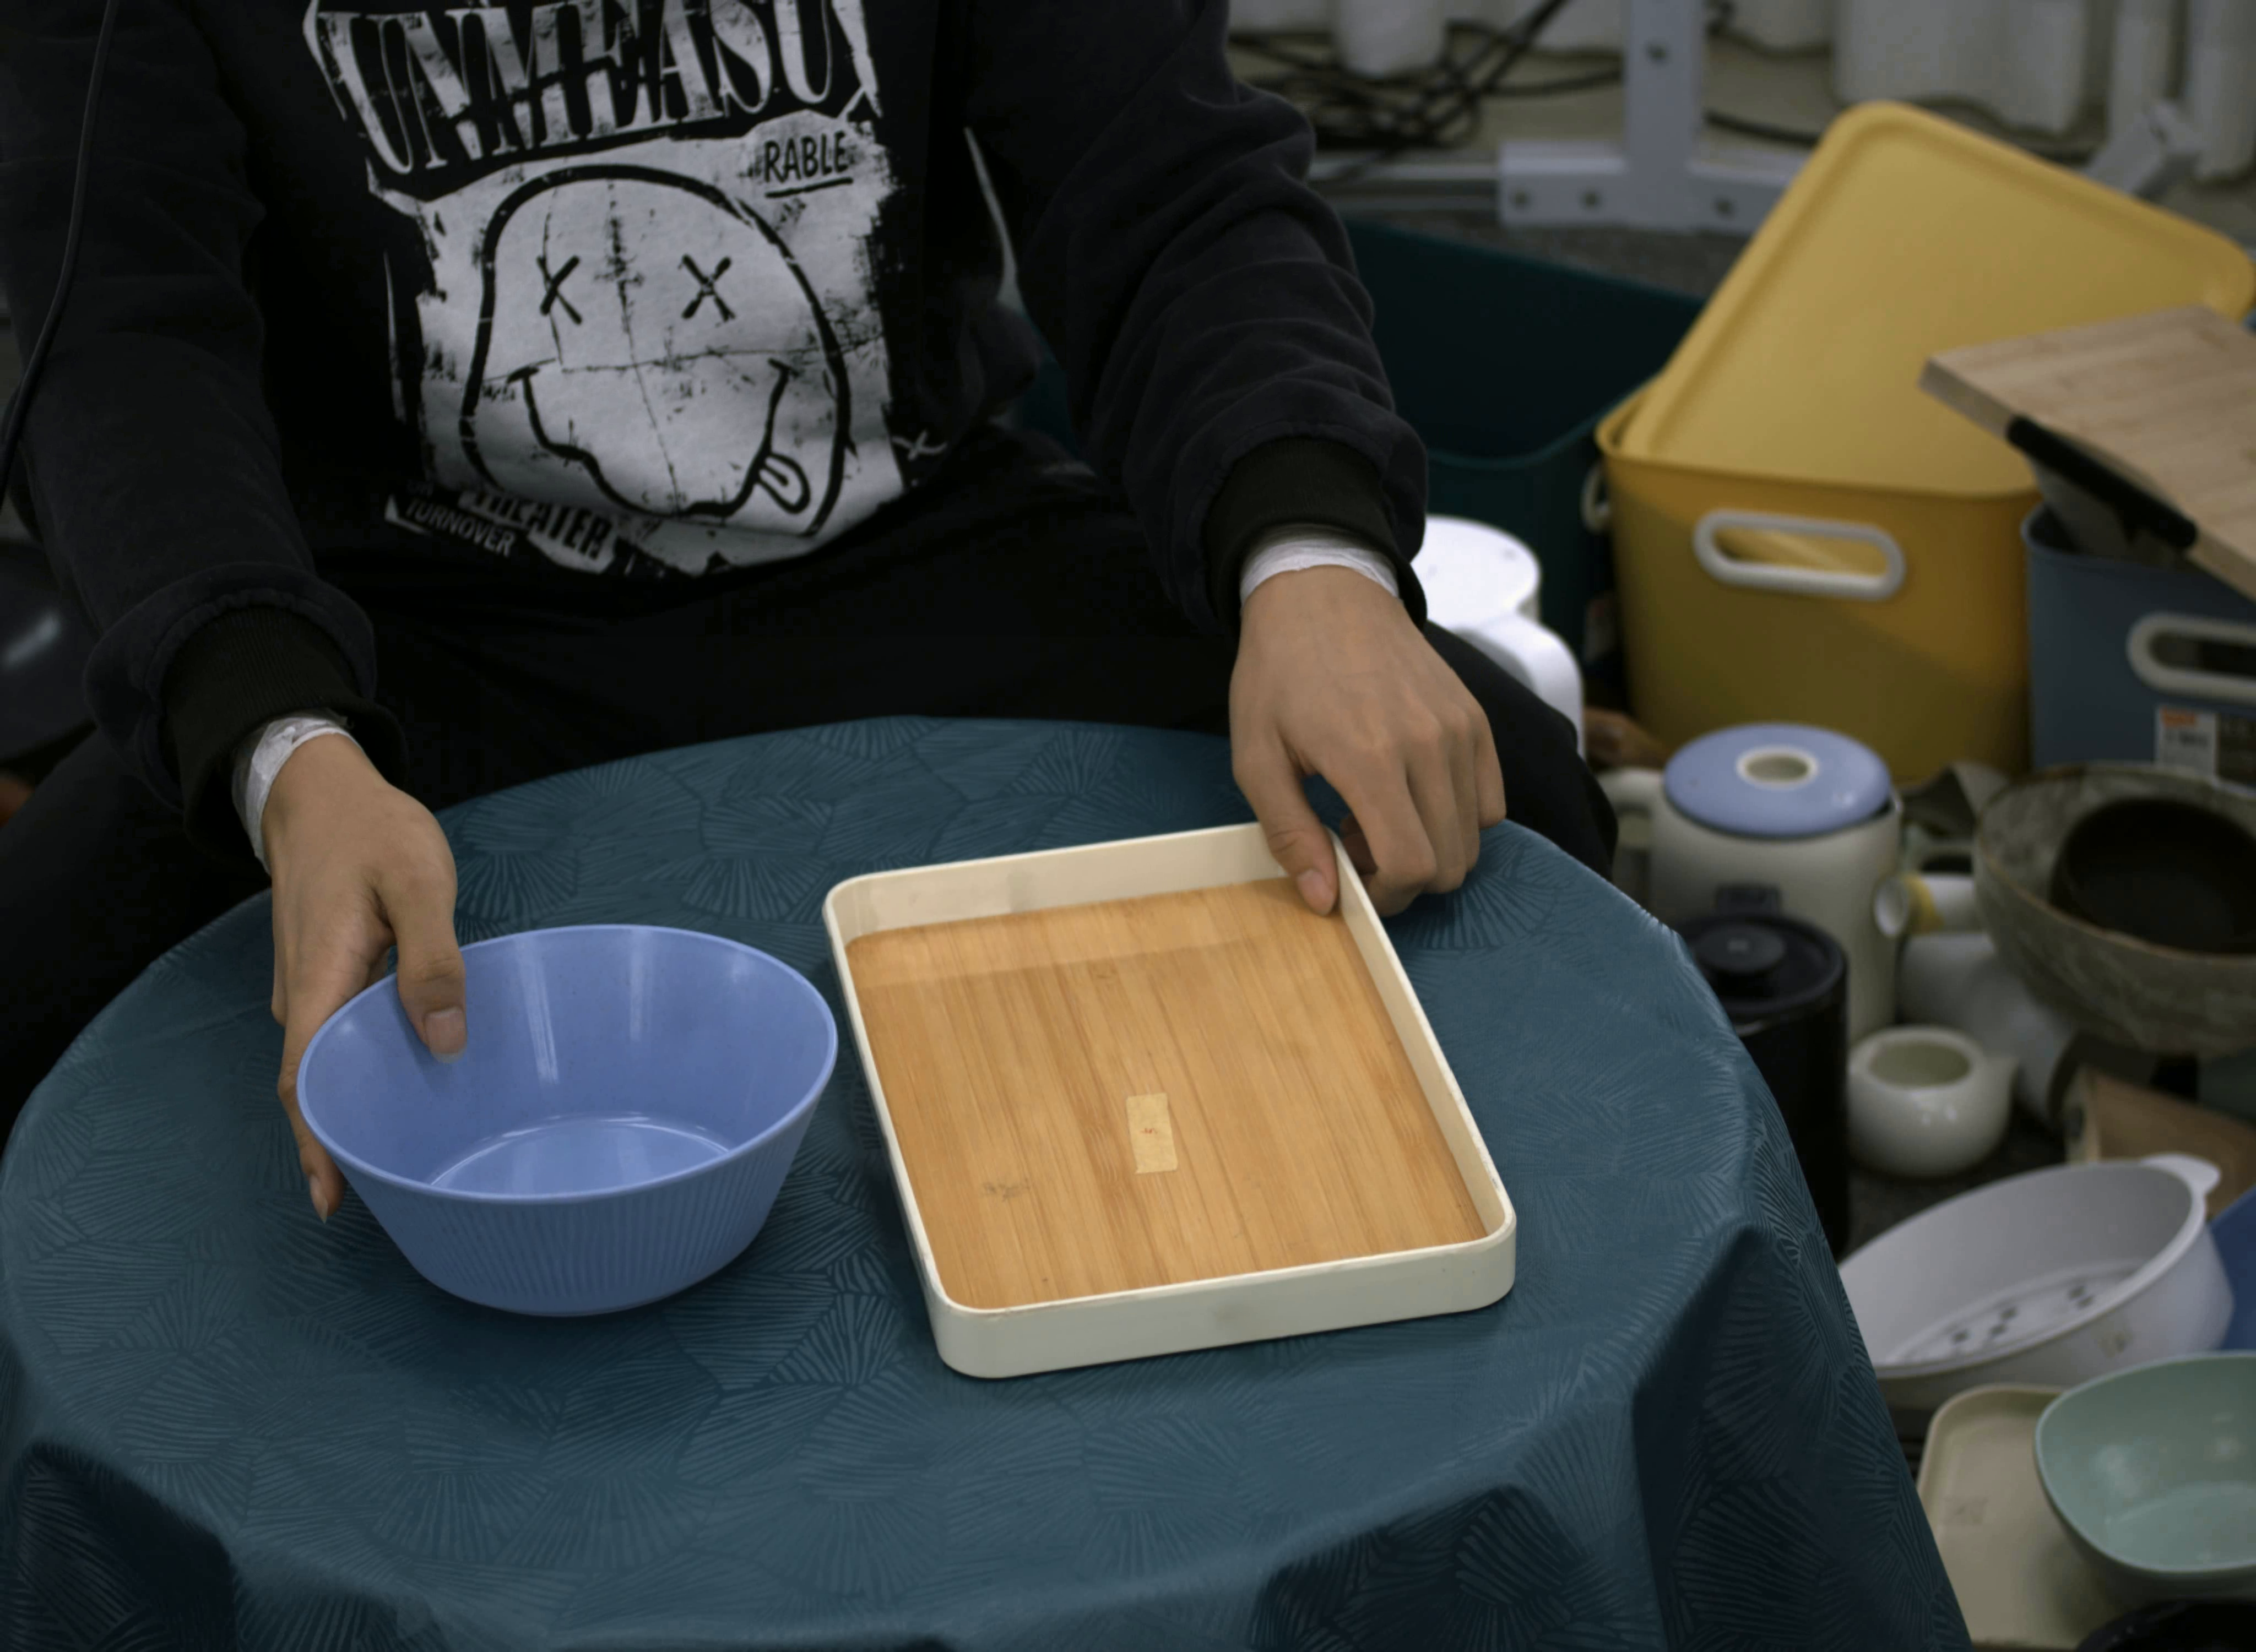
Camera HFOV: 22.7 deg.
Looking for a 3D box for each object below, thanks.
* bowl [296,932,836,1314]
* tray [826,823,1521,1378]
[{"bbox_3d":[-0.181,0.103,1.838,0.175,0.069,0.179,-1,27,1],"label":"bowl"},{"bbox_3d":[0.009,0.087,1.899,0.191,0.027,0.304,-7,28,-8],"label":"tray"}]
